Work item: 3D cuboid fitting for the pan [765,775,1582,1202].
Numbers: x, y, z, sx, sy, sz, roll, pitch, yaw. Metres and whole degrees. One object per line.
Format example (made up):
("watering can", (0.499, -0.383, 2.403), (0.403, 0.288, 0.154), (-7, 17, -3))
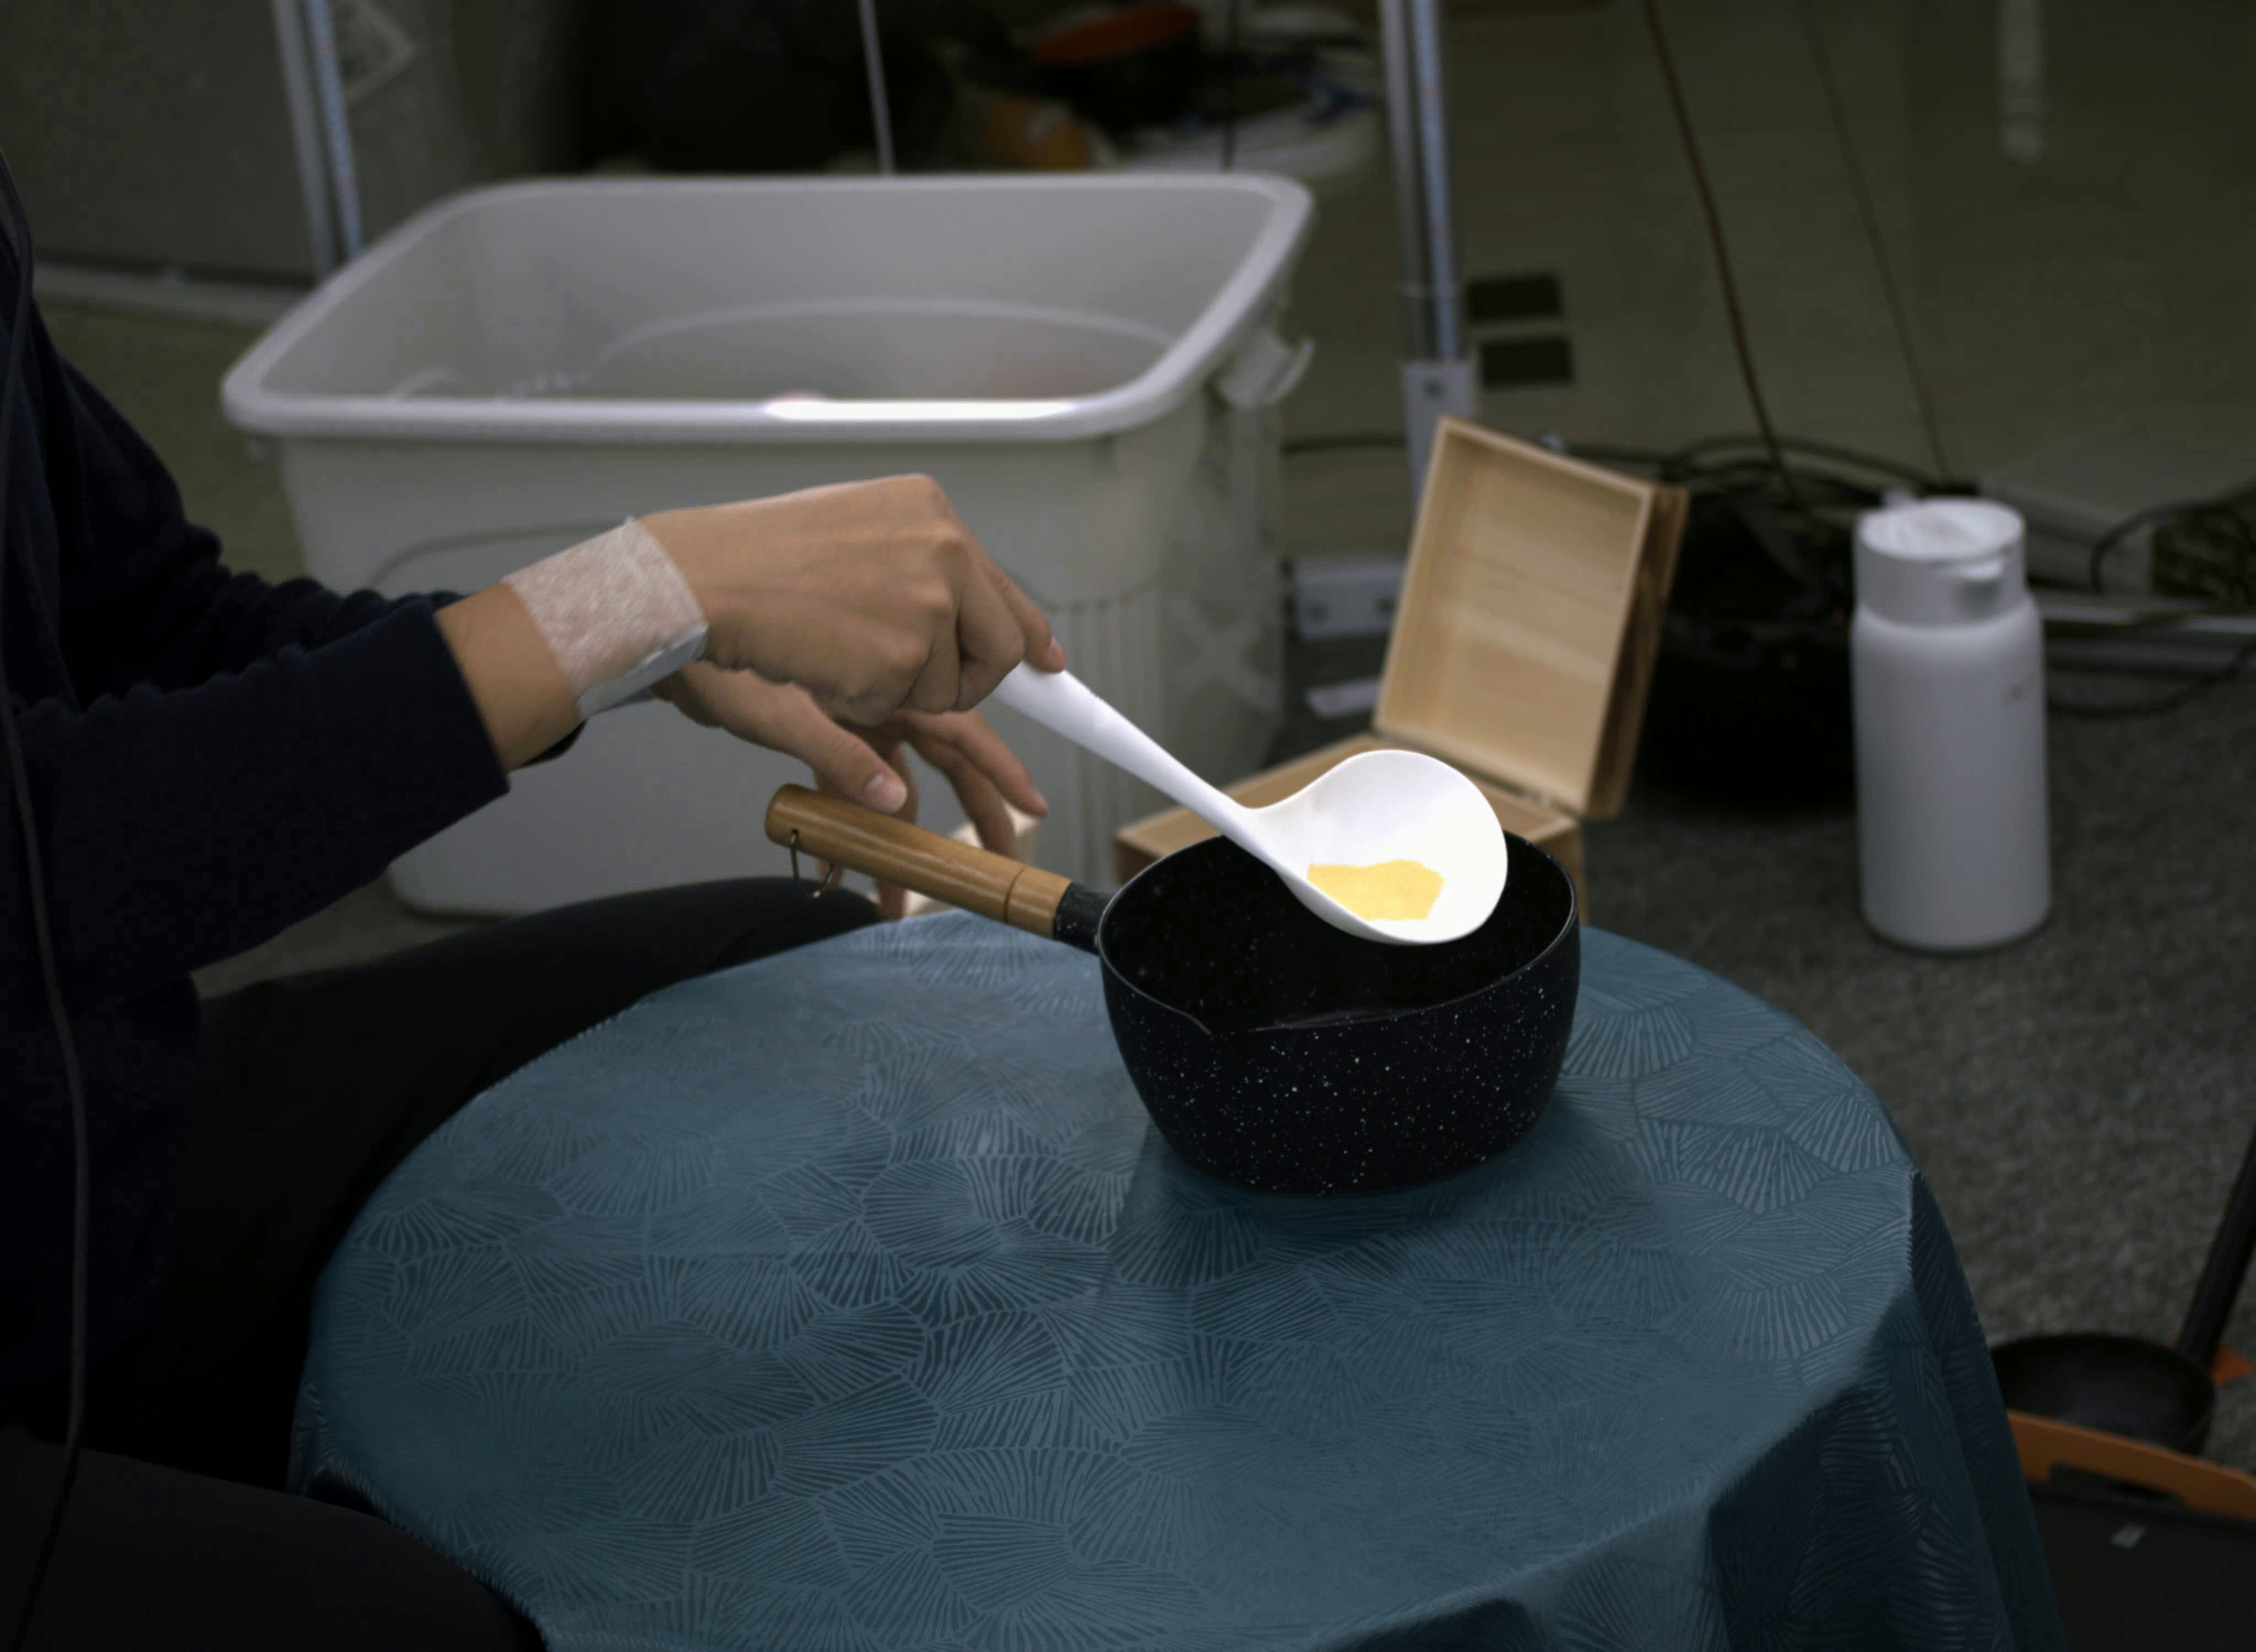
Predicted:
("pan", (0.011, 0.052, 2.201), (0.341, 0.110, 0.205), (8, 30, 25))

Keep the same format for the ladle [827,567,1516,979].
("ladle", (0.020, -0.025, 2.040), (0.070, 0.295, 0.089), (-22, 52, 37))
